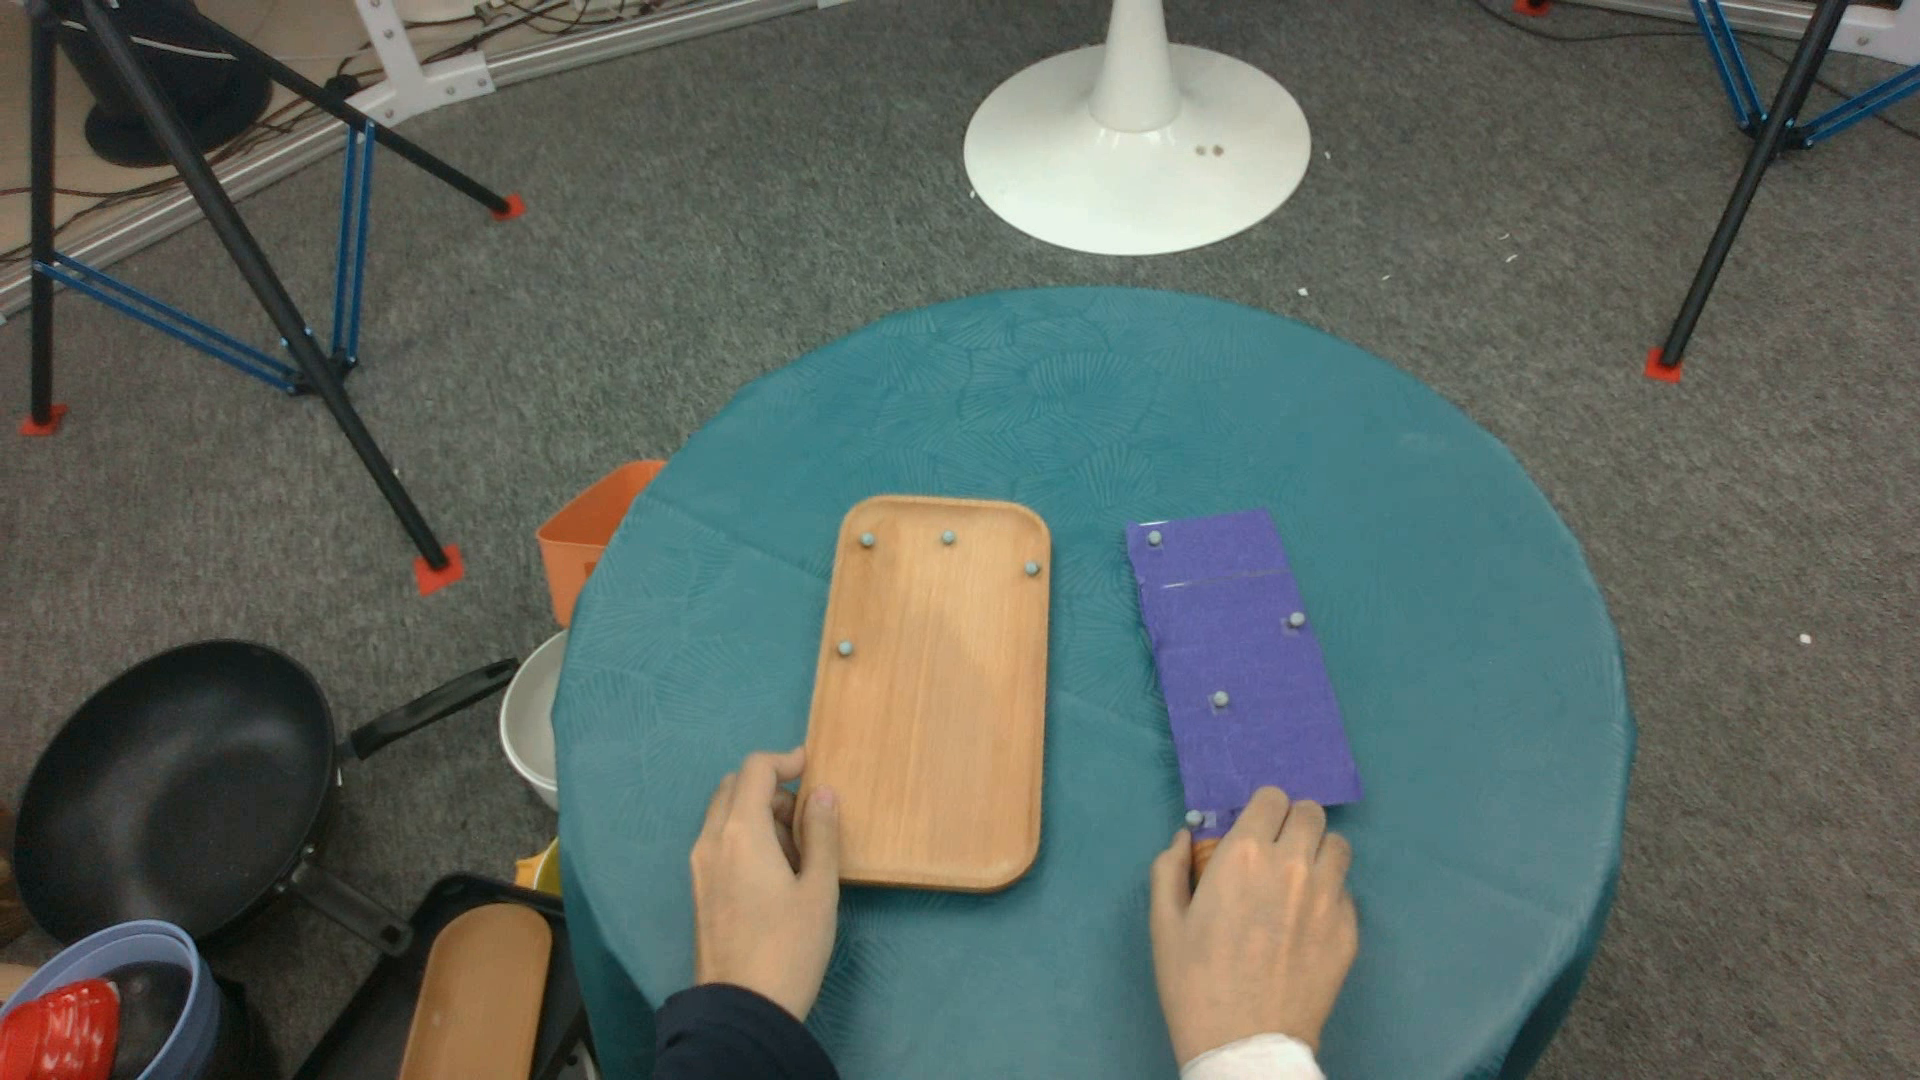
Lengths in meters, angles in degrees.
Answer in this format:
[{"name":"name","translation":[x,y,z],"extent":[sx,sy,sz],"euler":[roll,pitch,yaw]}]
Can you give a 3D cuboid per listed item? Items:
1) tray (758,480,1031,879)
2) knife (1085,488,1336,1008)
[{"name":"tray","translation":[-0.030,0.068,0.763],"extent":[0.130,0.023,0.252],"euler":[4,52,4]},{"name":"knife","translation":[0.143,0.087,0.731],"extent":[0.104,0.032,0.316],"euler":[-8,49,-1]}]
